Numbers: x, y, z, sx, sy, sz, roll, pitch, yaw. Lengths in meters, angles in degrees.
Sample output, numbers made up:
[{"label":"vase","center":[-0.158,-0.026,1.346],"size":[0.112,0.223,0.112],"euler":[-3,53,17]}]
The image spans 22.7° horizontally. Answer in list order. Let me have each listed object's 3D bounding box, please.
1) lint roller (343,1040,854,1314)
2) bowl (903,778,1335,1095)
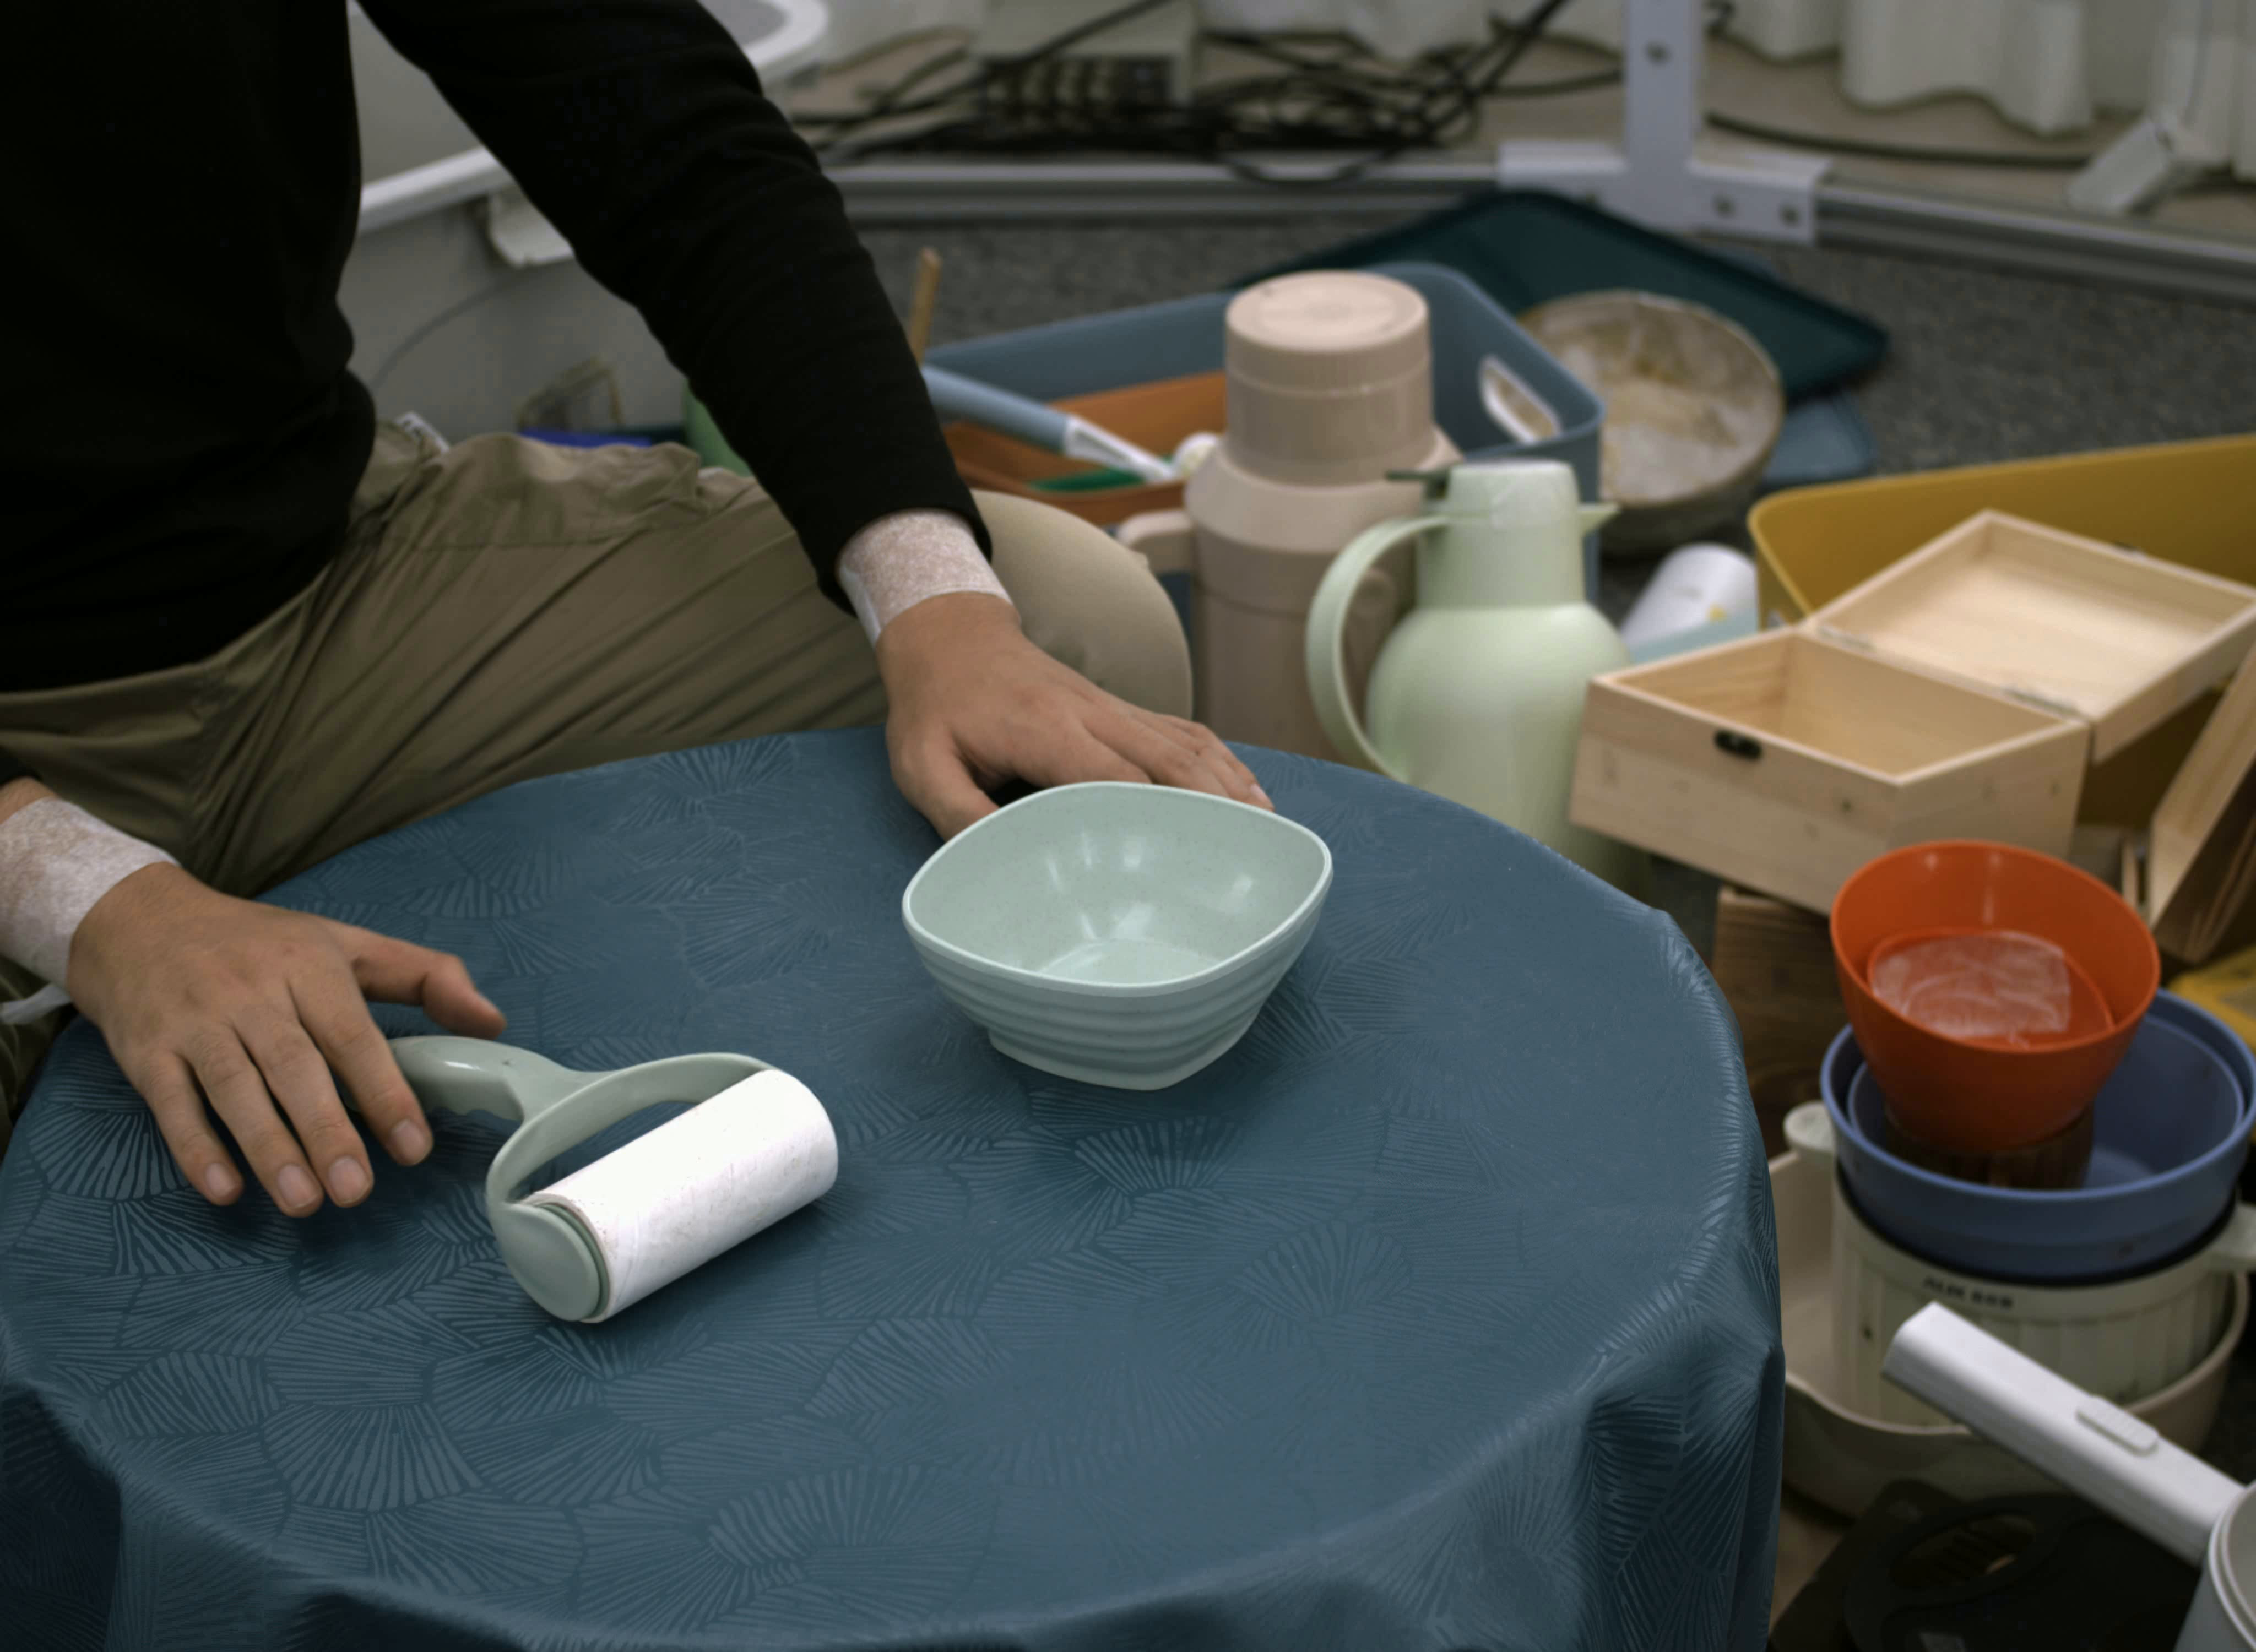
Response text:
[{"label":"lint roller","center":[-0.193,0.098,1.878],"size":[0.197,0.048,0.118],"euler":[20,37,39]},{"label":"bowl","center":[-0.002,0.044,1.951],"size":[0.151,0.058,0.154],"euler":[-2,29,1]}]
